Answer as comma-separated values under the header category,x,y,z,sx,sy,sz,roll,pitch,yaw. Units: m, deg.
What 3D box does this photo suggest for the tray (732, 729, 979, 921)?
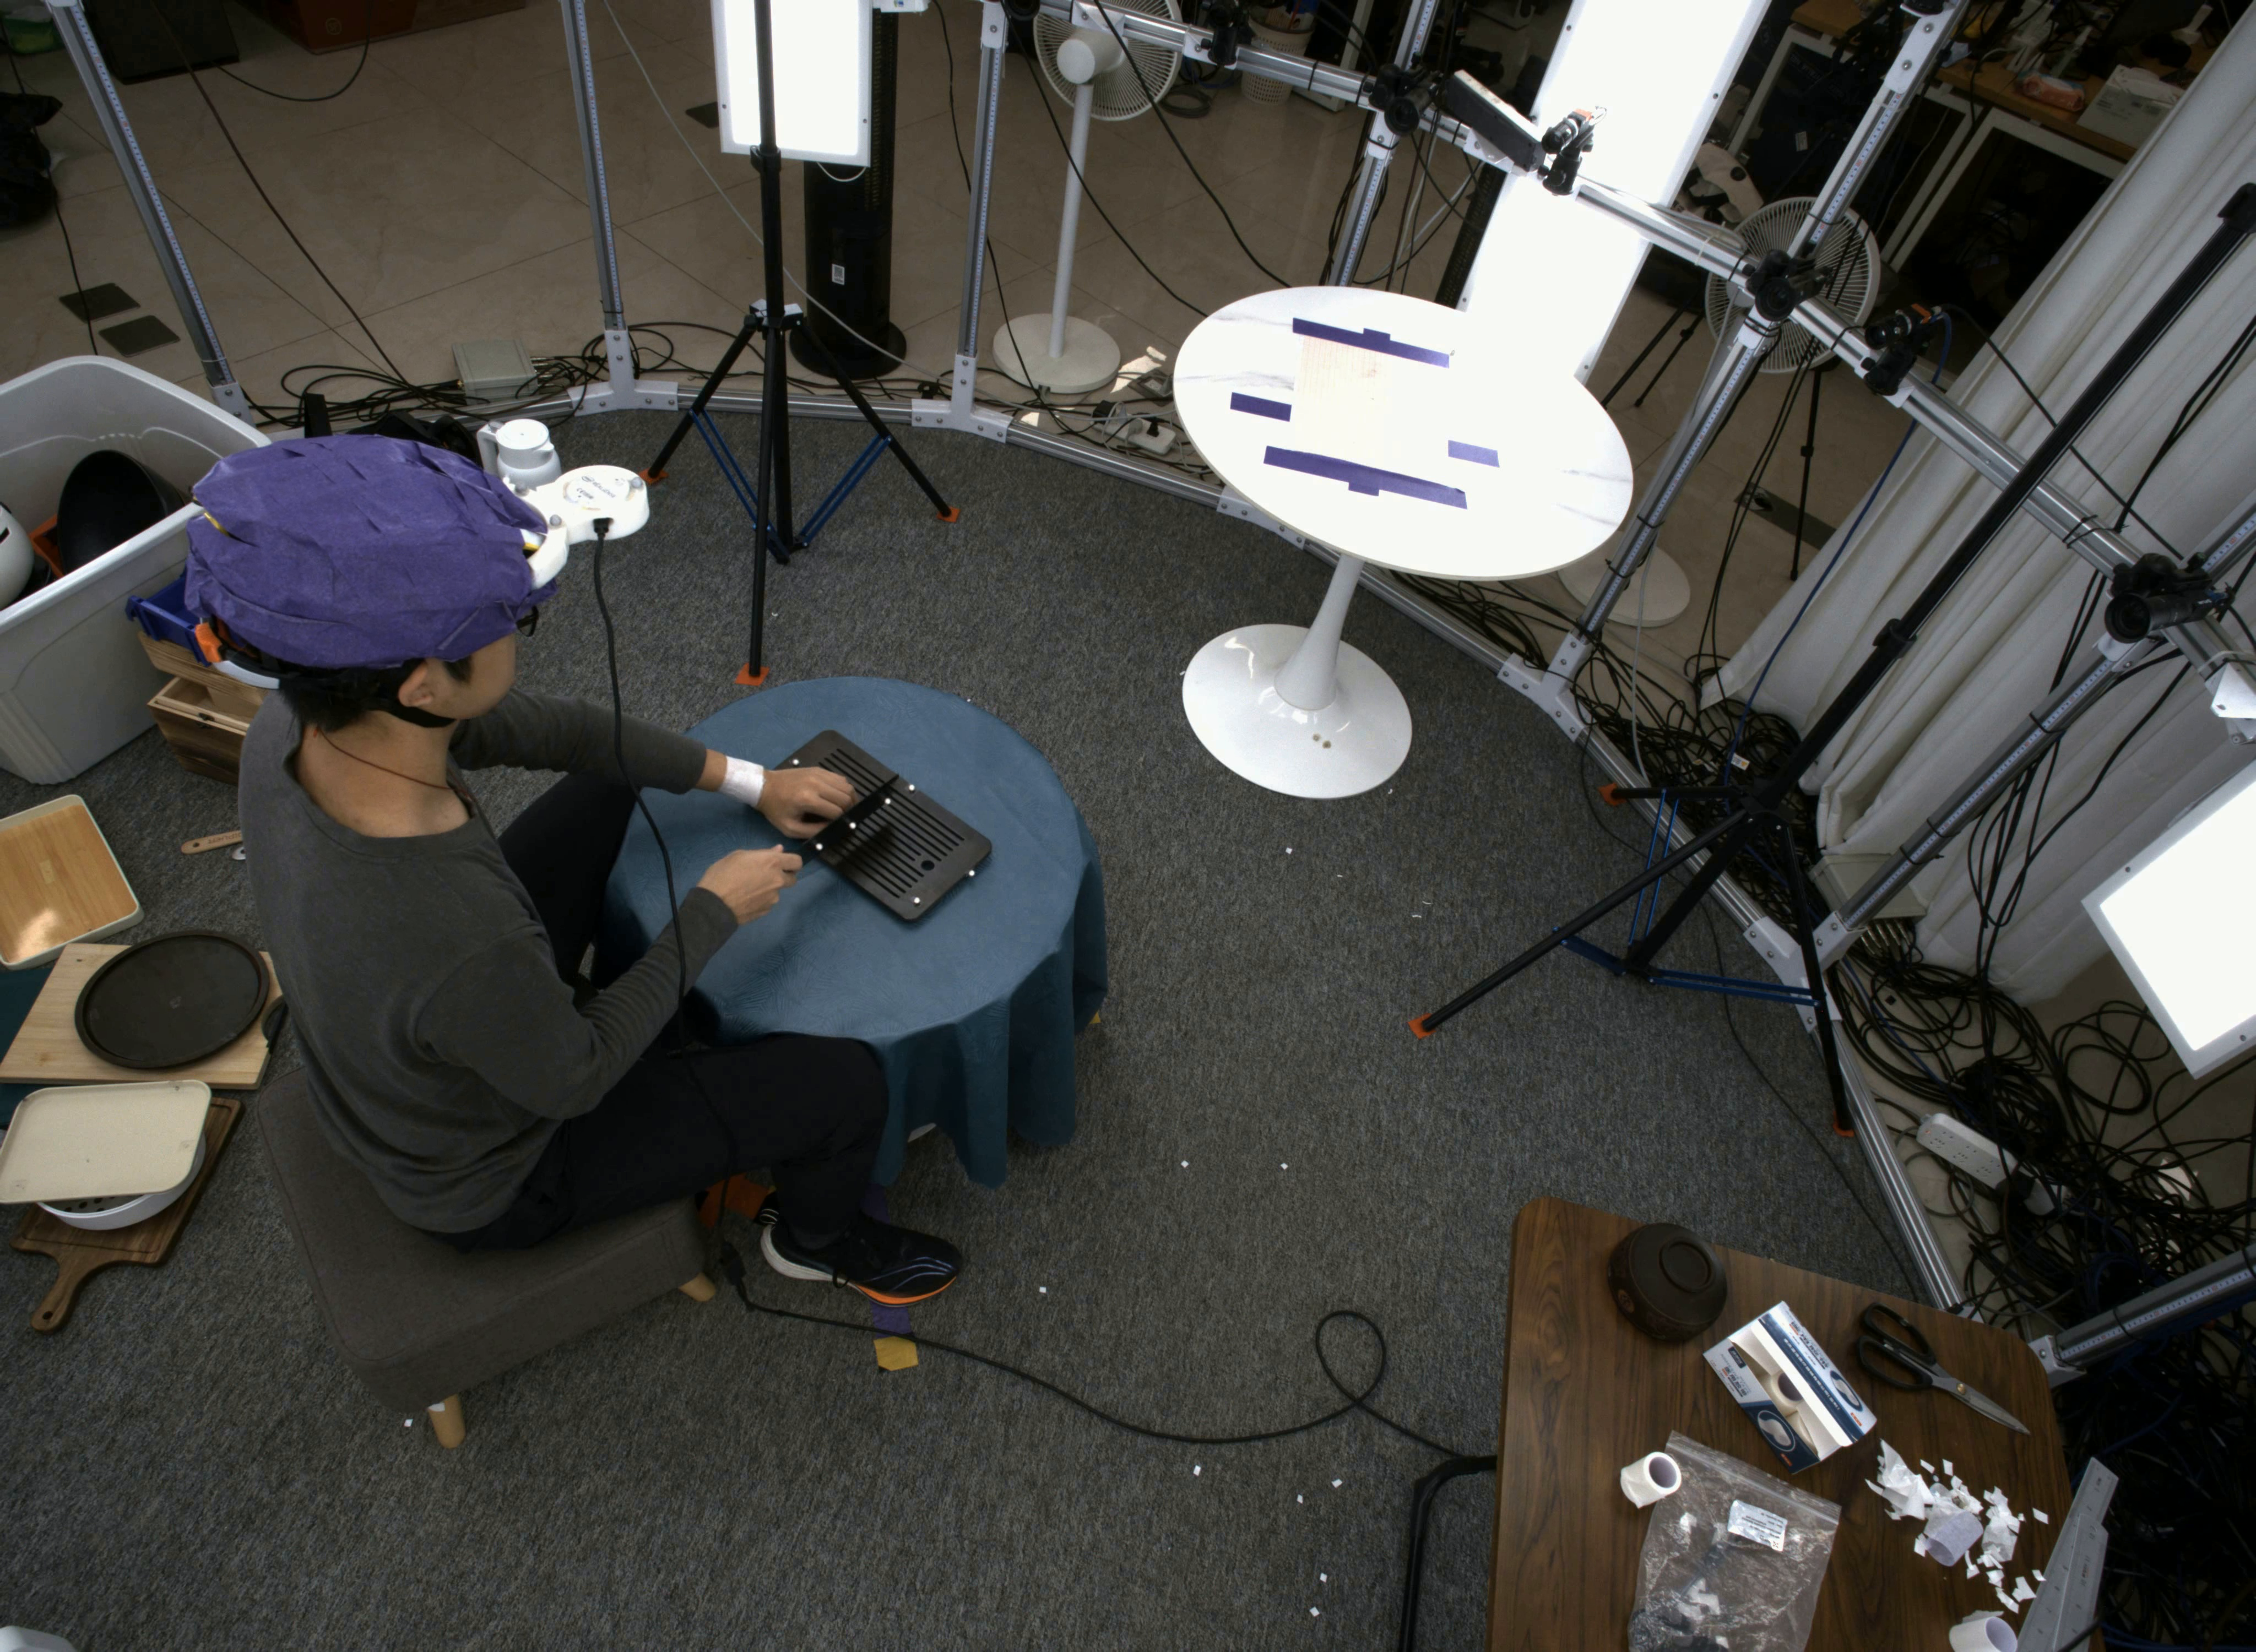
category,x,y,z,sx,sy,sz,roll,pitch,yaw
tray,-0.365,-0.005,1.742,0.300,0.019,0.170,34,54,12

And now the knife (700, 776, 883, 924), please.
category,x,y,z,sx,sy,sz,roll,pitch,yaw
knife,-0.413,0.029,1.613,0.020,0.081,0.302,41,48,8
